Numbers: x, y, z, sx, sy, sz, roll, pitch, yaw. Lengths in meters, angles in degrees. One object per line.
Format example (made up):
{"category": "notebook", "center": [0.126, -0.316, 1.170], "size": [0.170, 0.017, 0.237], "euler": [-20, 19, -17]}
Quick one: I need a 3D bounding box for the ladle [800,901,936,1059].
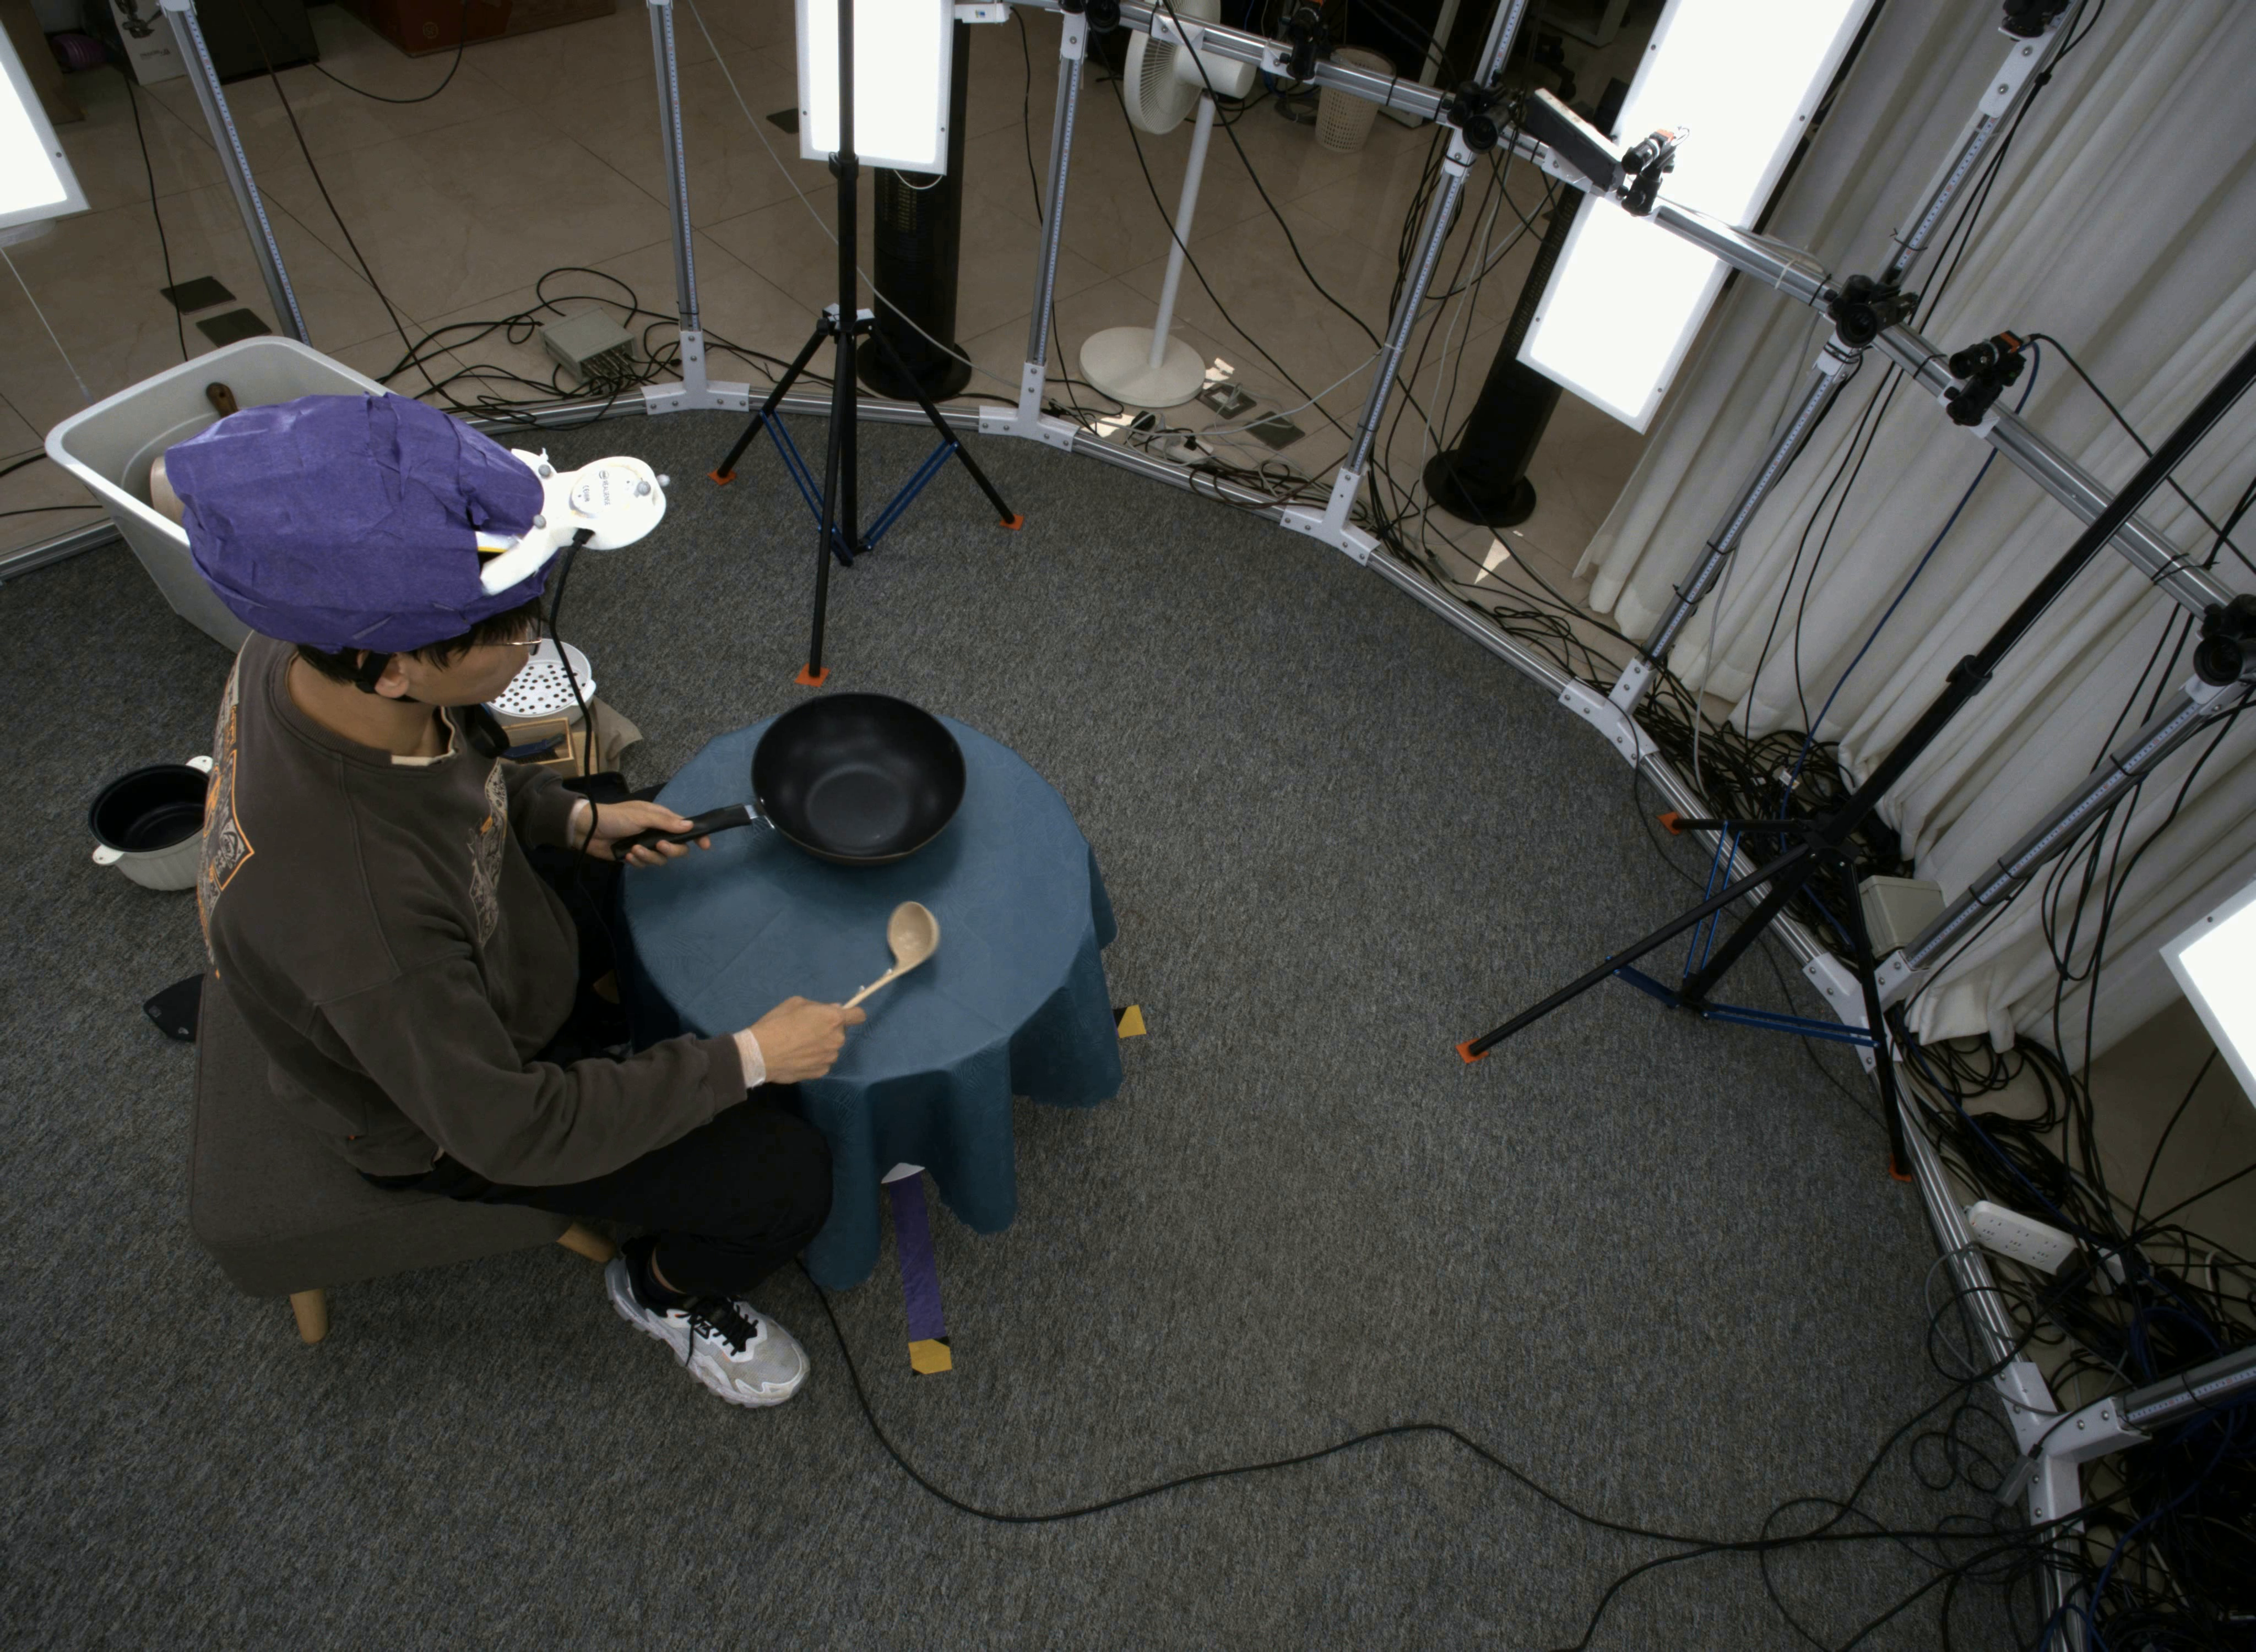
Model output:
{"category": "ladle", "center": [-0.317, 0.173, 1.547], "size": [0.070, 0.075, 0.254], "euler": [5, 27, 26]}

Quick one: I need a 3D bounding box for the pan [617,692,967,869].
{"category": "pan", "center": [-0.433, -0.018, 1.696], "size": [0.465, 0.088, 0.281], "euler": [-22, 62, -25]}
